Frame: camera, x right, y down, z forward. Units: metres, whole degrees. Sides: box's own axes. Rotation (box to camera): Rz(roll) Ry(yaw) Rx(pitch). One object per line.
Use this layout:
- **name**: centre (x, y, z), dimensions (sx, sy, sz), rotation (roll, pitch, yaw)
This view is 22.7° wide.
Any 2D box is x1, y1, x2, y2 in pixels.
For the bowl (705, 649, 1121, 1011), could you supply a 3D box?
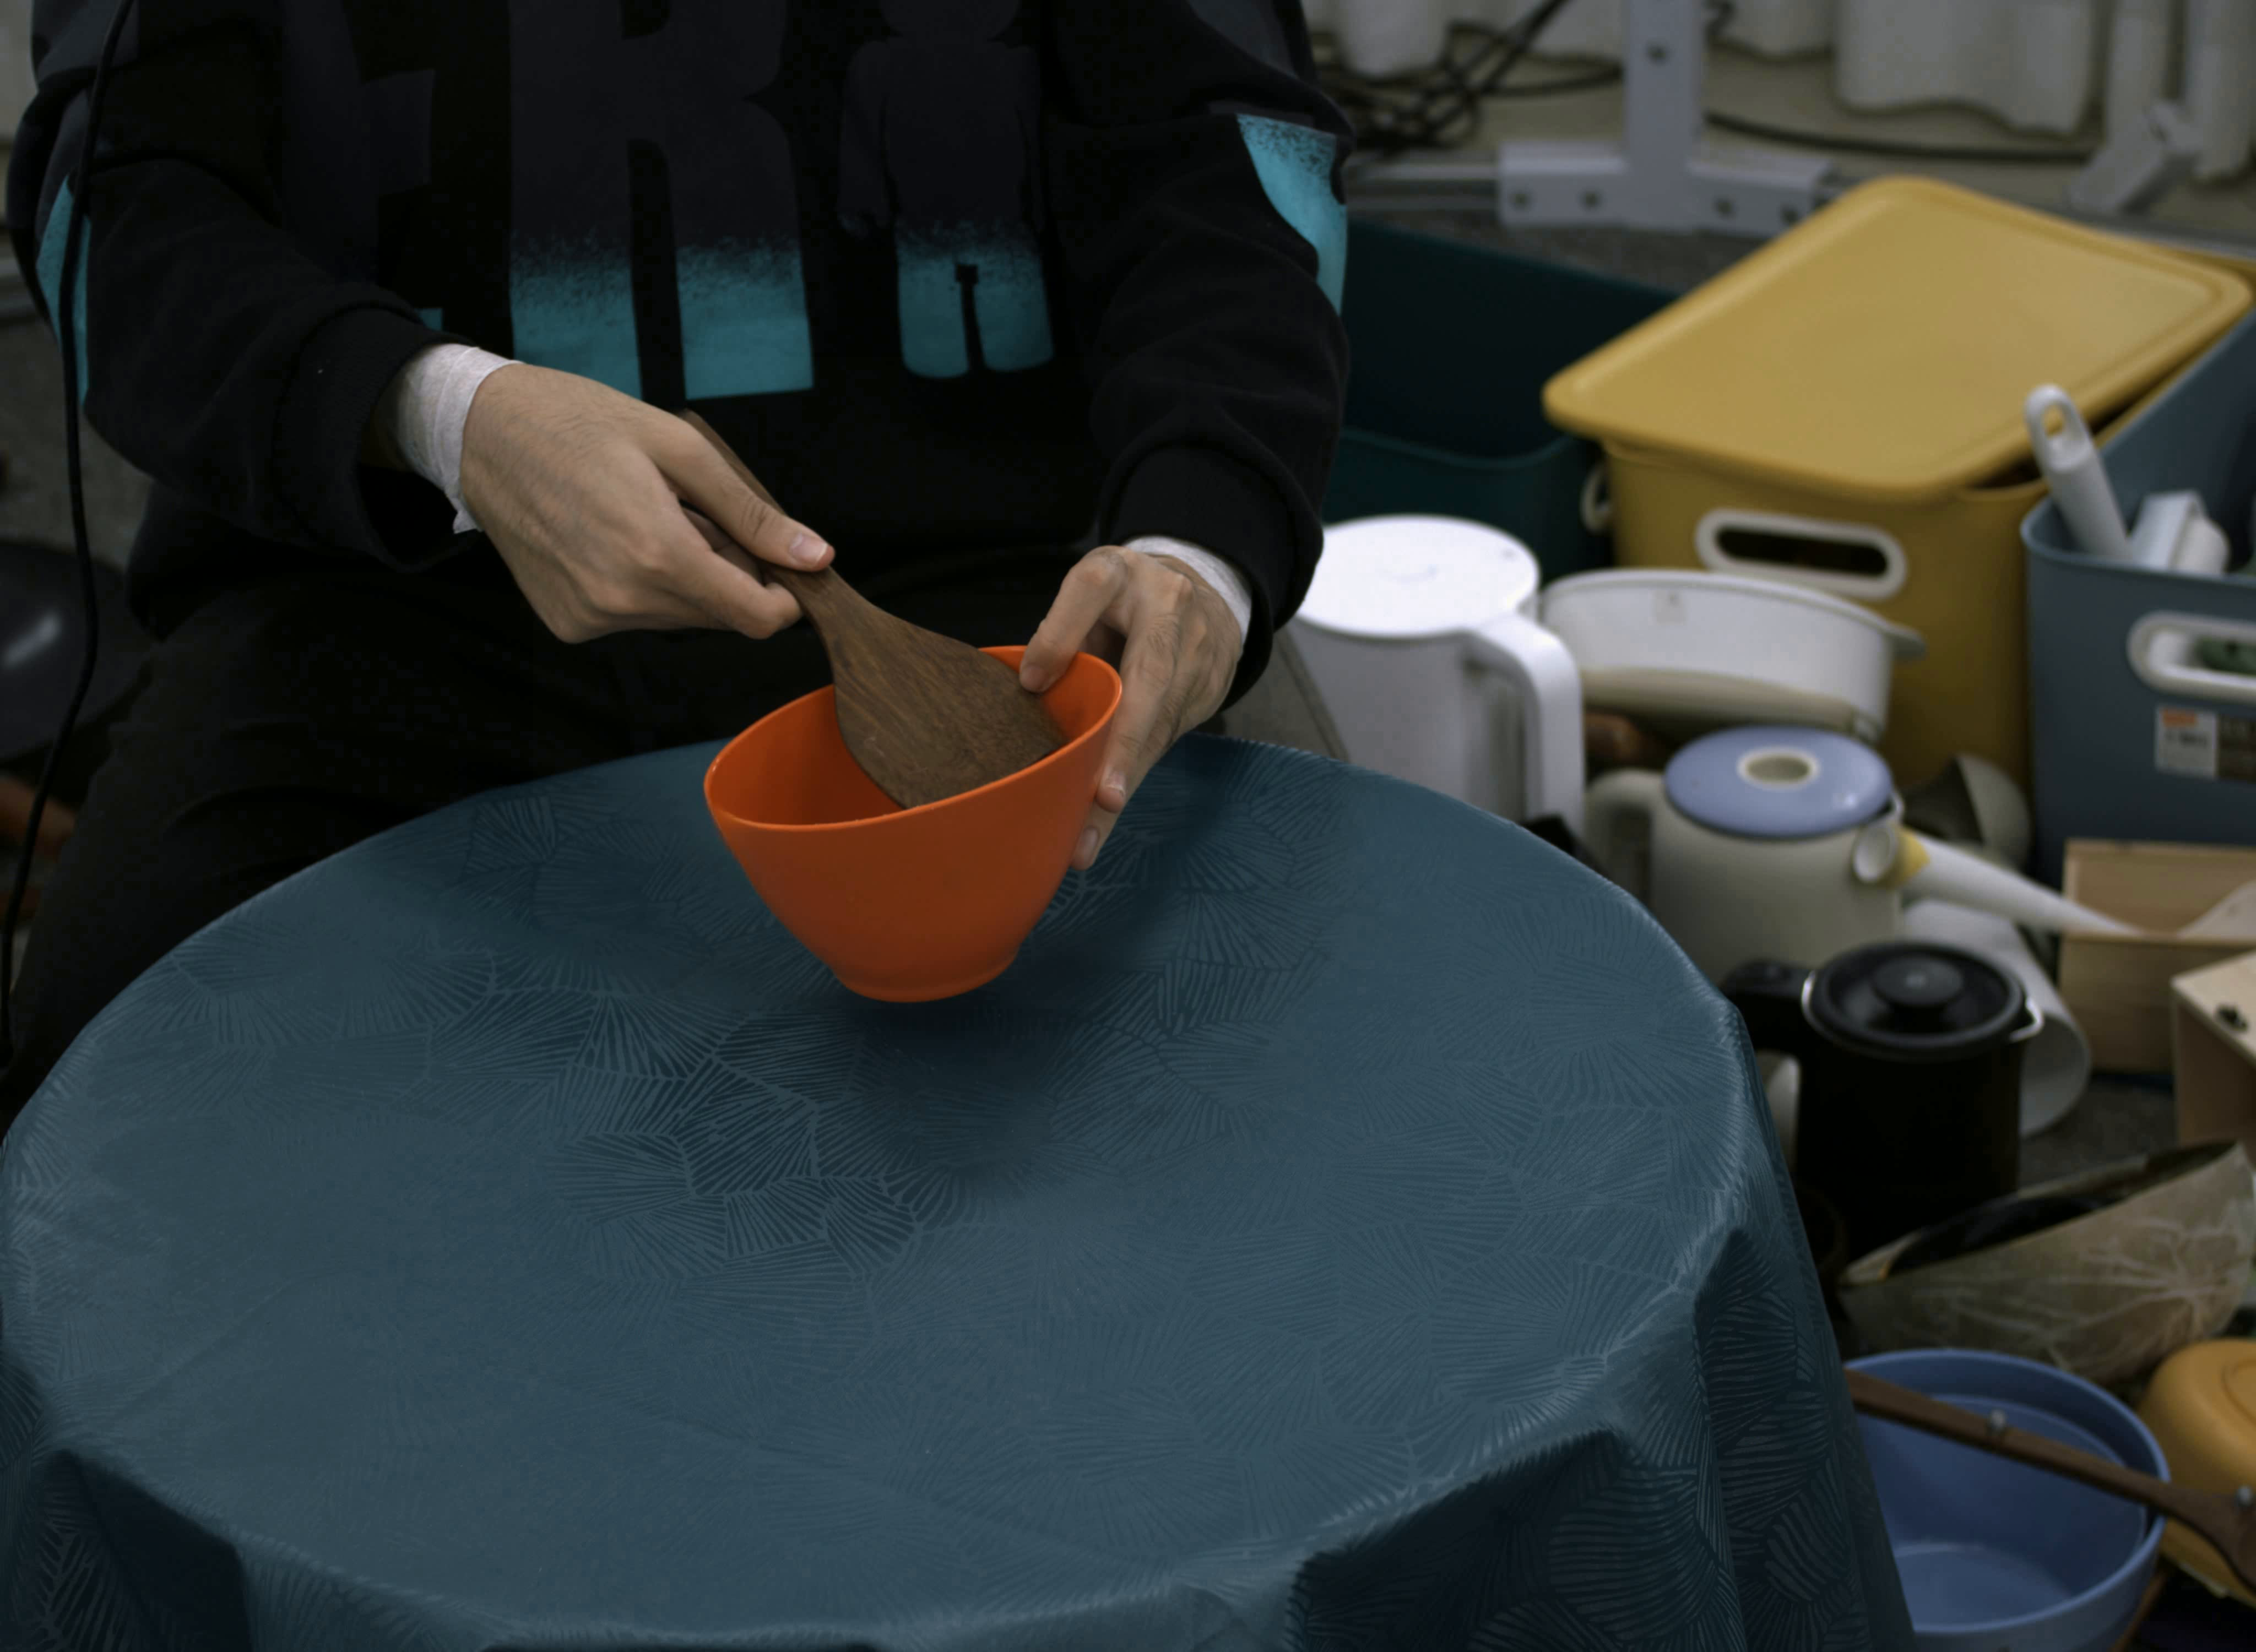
- **bowl**: centre (-0.068, 0.006, 1.939), dimensions (0.147, 0.103, 0.150), rotation (-7, 27, 4)

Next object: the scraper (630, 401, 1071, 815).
- **scraper**: centre (-0.107, -0.080, 1.990), dimensions (0.076, 0.010, 0.213), rotation (-28, 59, -28)
